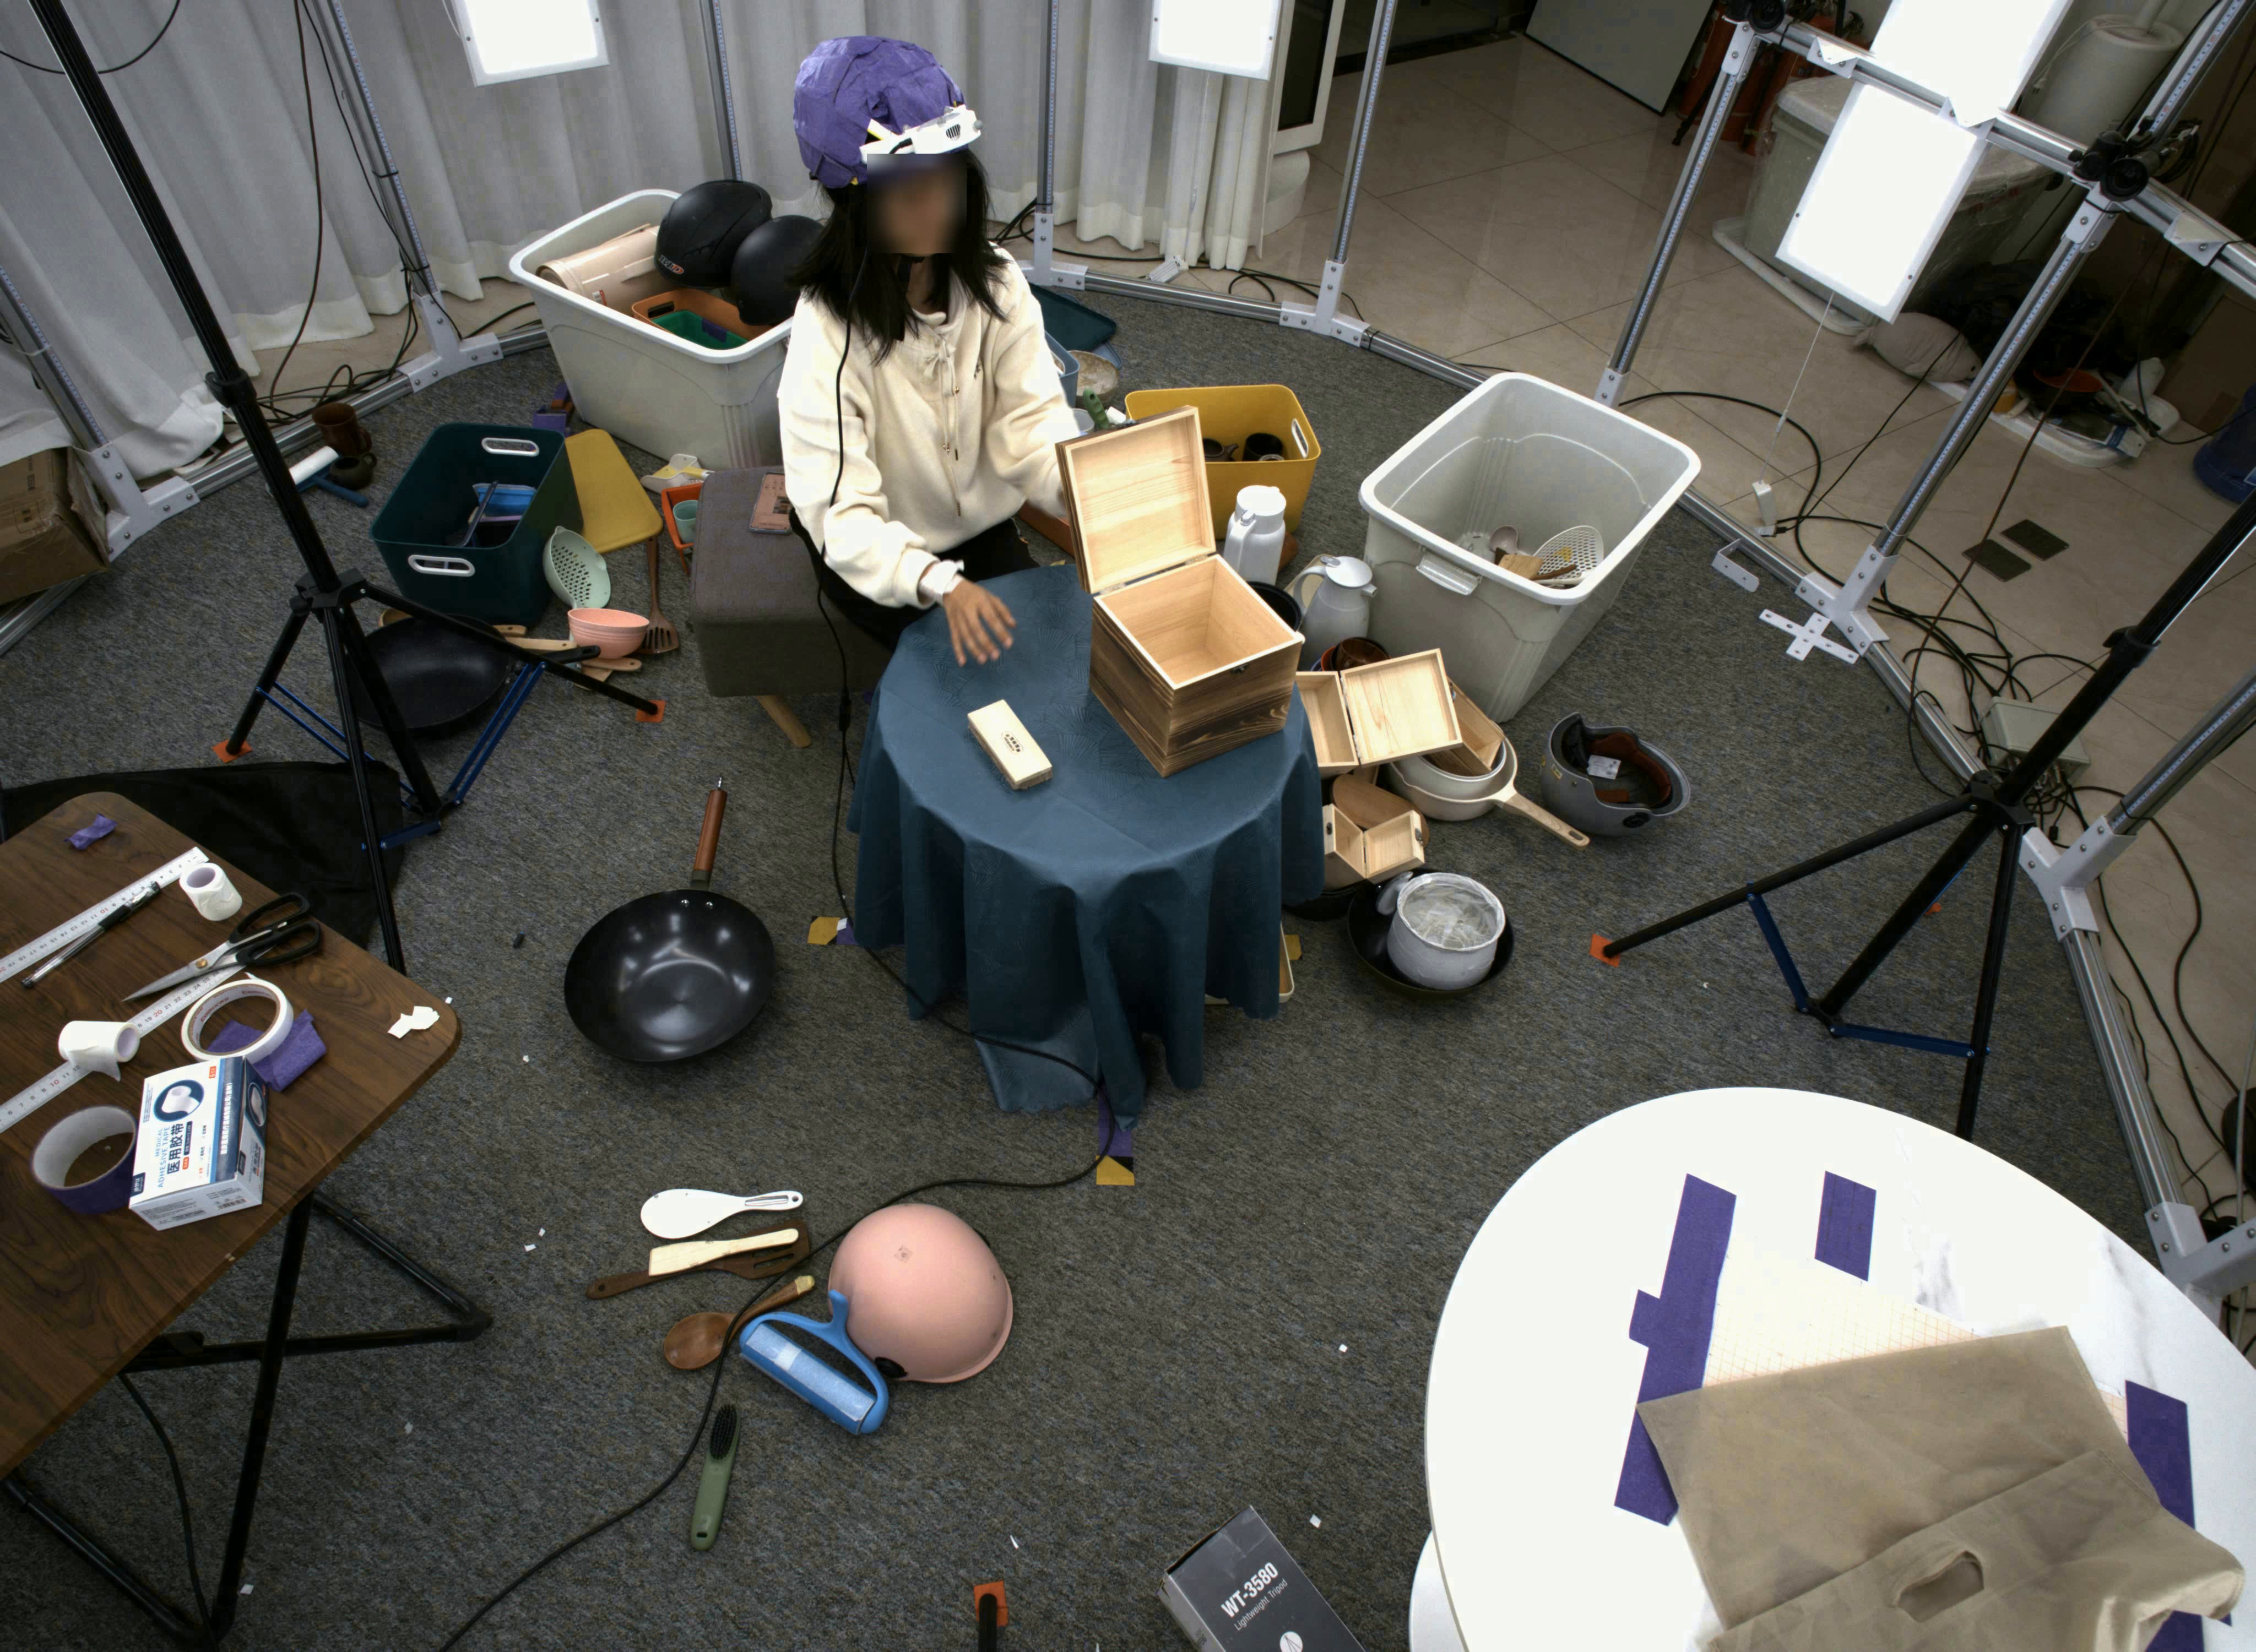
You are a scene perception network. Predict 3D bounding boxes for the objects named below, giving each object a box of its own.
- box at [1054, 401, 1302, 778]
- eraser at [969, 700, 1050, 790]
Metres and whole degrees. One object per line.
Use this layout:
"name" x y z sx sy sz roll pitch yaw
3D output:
"box" 0.063 -0.316 1.714 0.209 0.366 0.329 -23 55 -21
"eraser" -0.160 -0.108 1.735 0.057 0.028 0.142 -23 54 -18
